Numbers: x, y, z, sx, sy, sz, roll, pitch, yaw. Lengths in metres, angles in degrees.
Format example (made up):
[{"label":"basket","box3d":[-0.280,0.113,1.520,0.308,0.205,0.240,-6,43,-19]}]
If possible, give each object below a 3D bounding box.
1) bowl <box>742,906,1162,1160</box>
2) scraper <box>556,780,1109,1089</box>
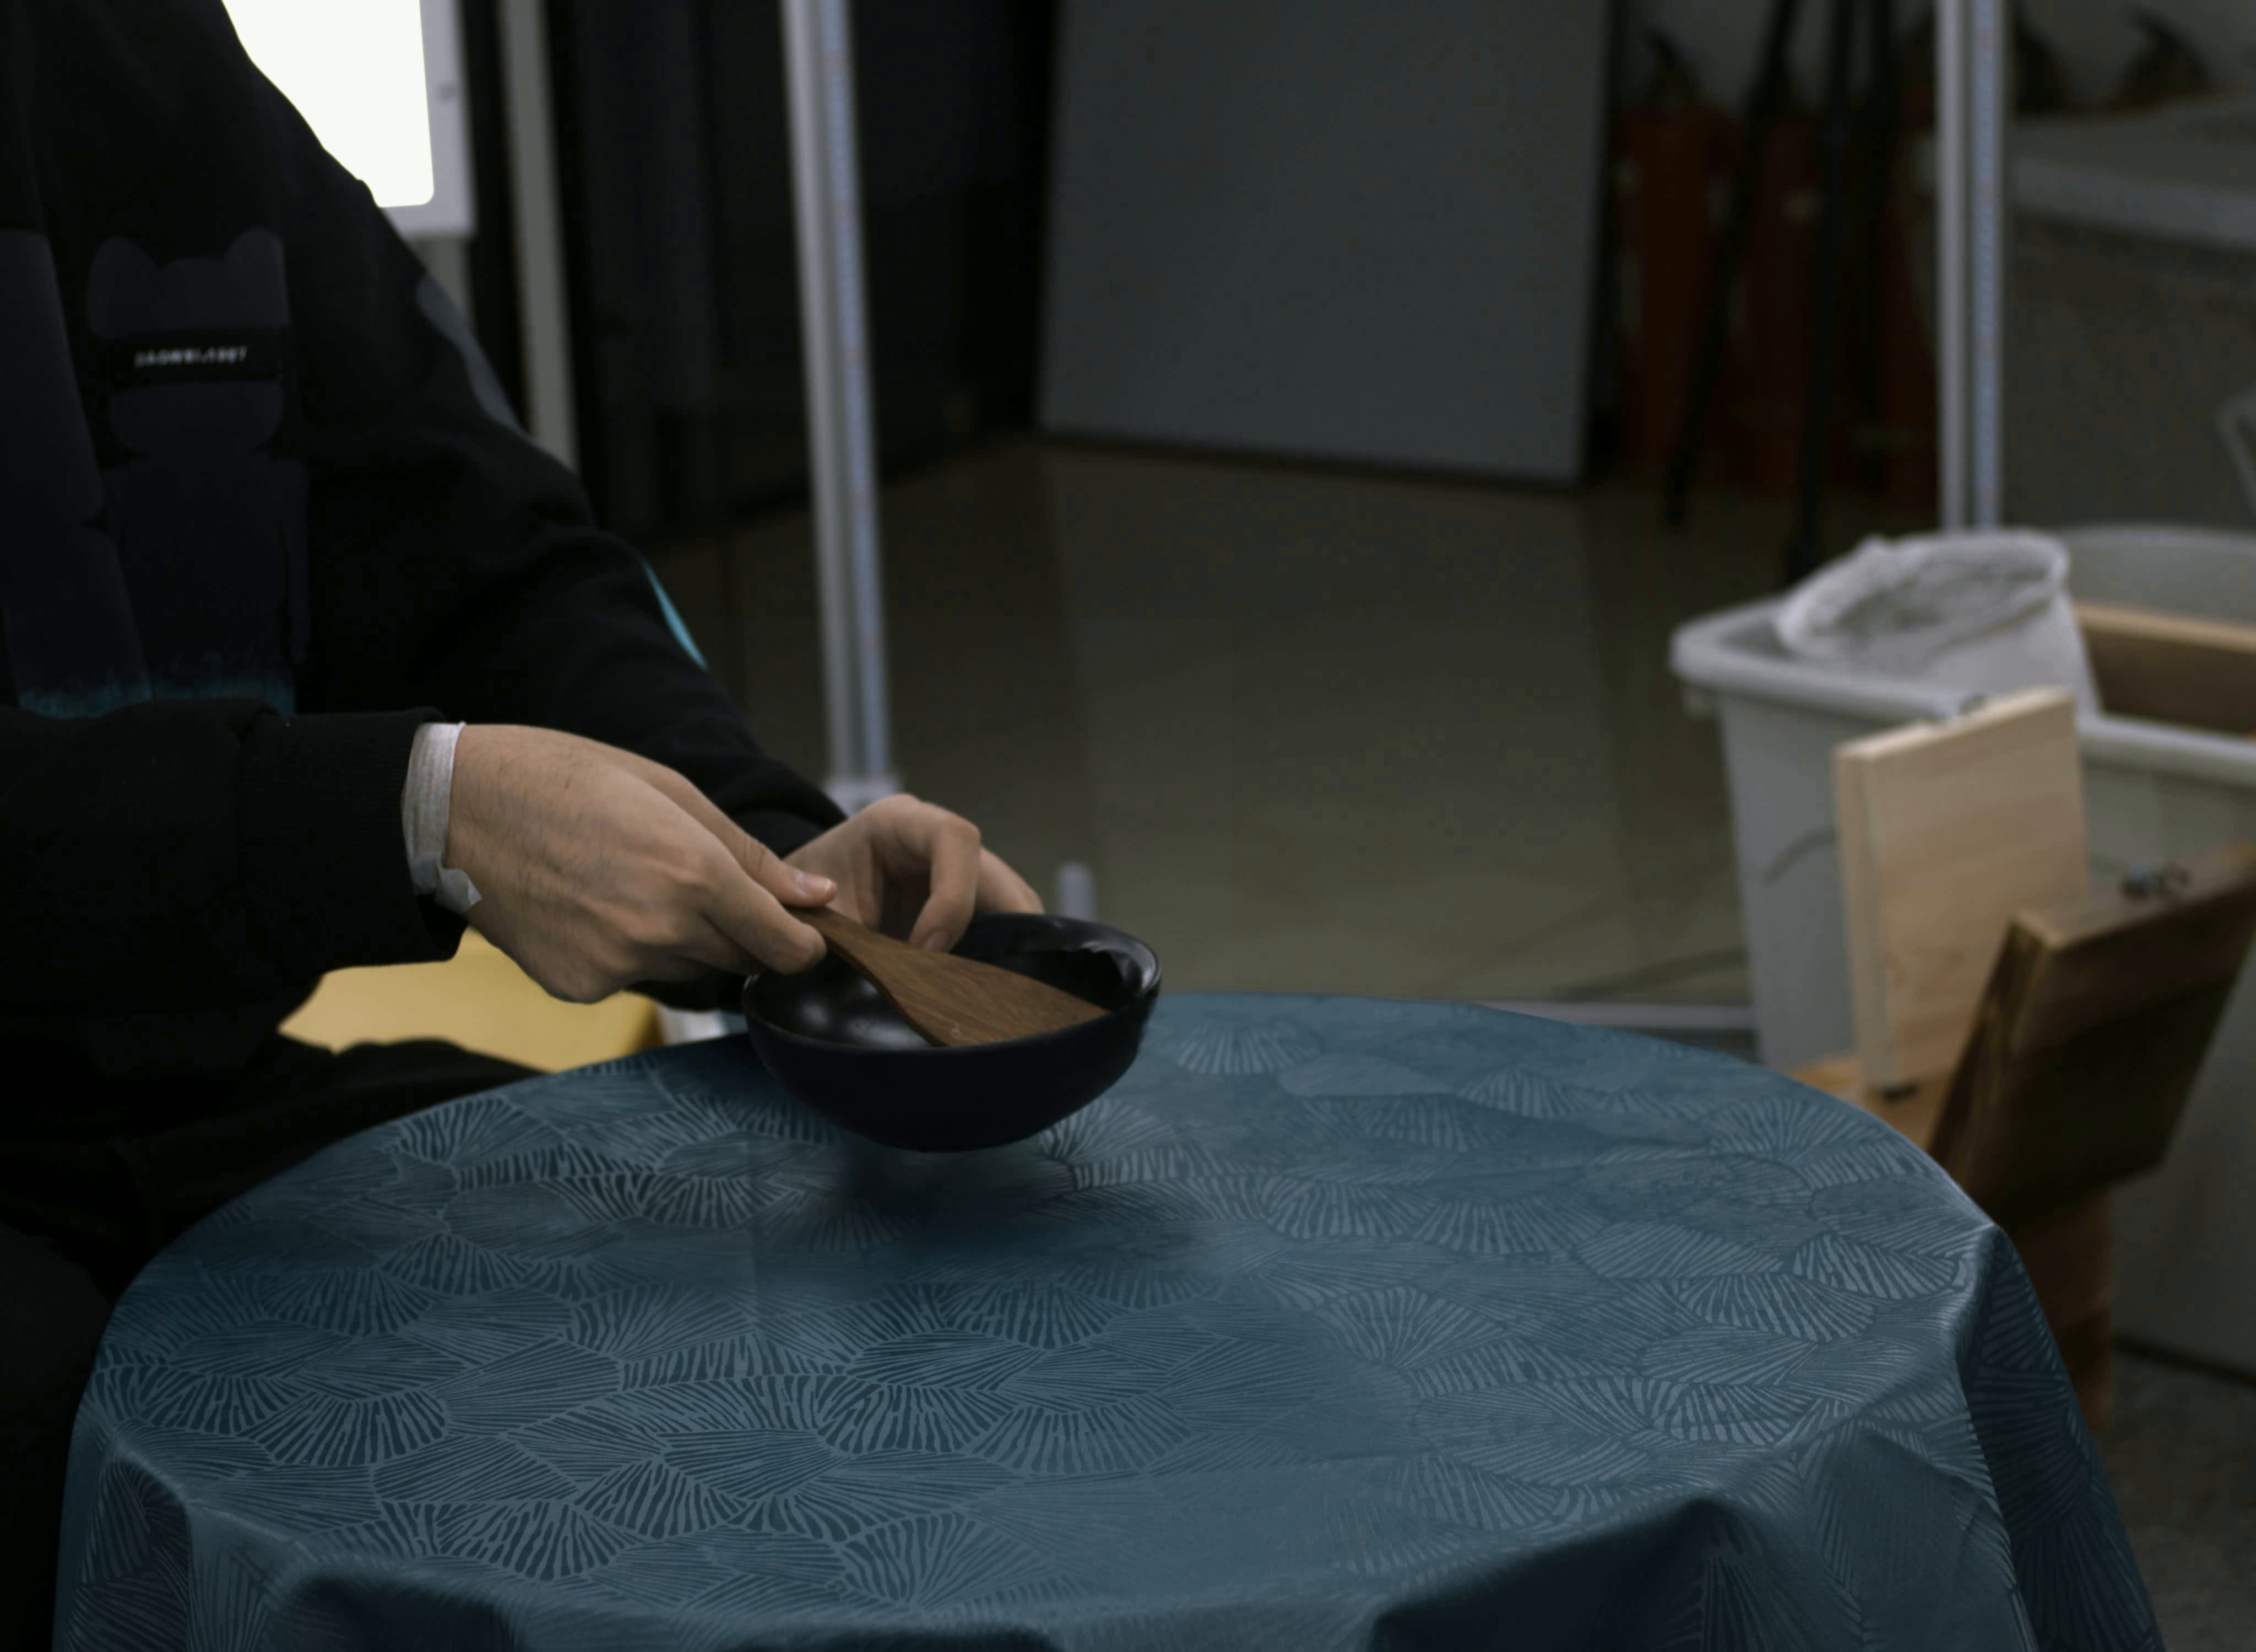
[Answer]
[{"label":"bowl","box3d":[-0.055,0.073,1.763,0.138,0.050,0.140,-6,18,1]},{"label":"scraper","box3d":[-0.098,0.033,1.773,0.212,0.011,0.075,27,26,19]}]
